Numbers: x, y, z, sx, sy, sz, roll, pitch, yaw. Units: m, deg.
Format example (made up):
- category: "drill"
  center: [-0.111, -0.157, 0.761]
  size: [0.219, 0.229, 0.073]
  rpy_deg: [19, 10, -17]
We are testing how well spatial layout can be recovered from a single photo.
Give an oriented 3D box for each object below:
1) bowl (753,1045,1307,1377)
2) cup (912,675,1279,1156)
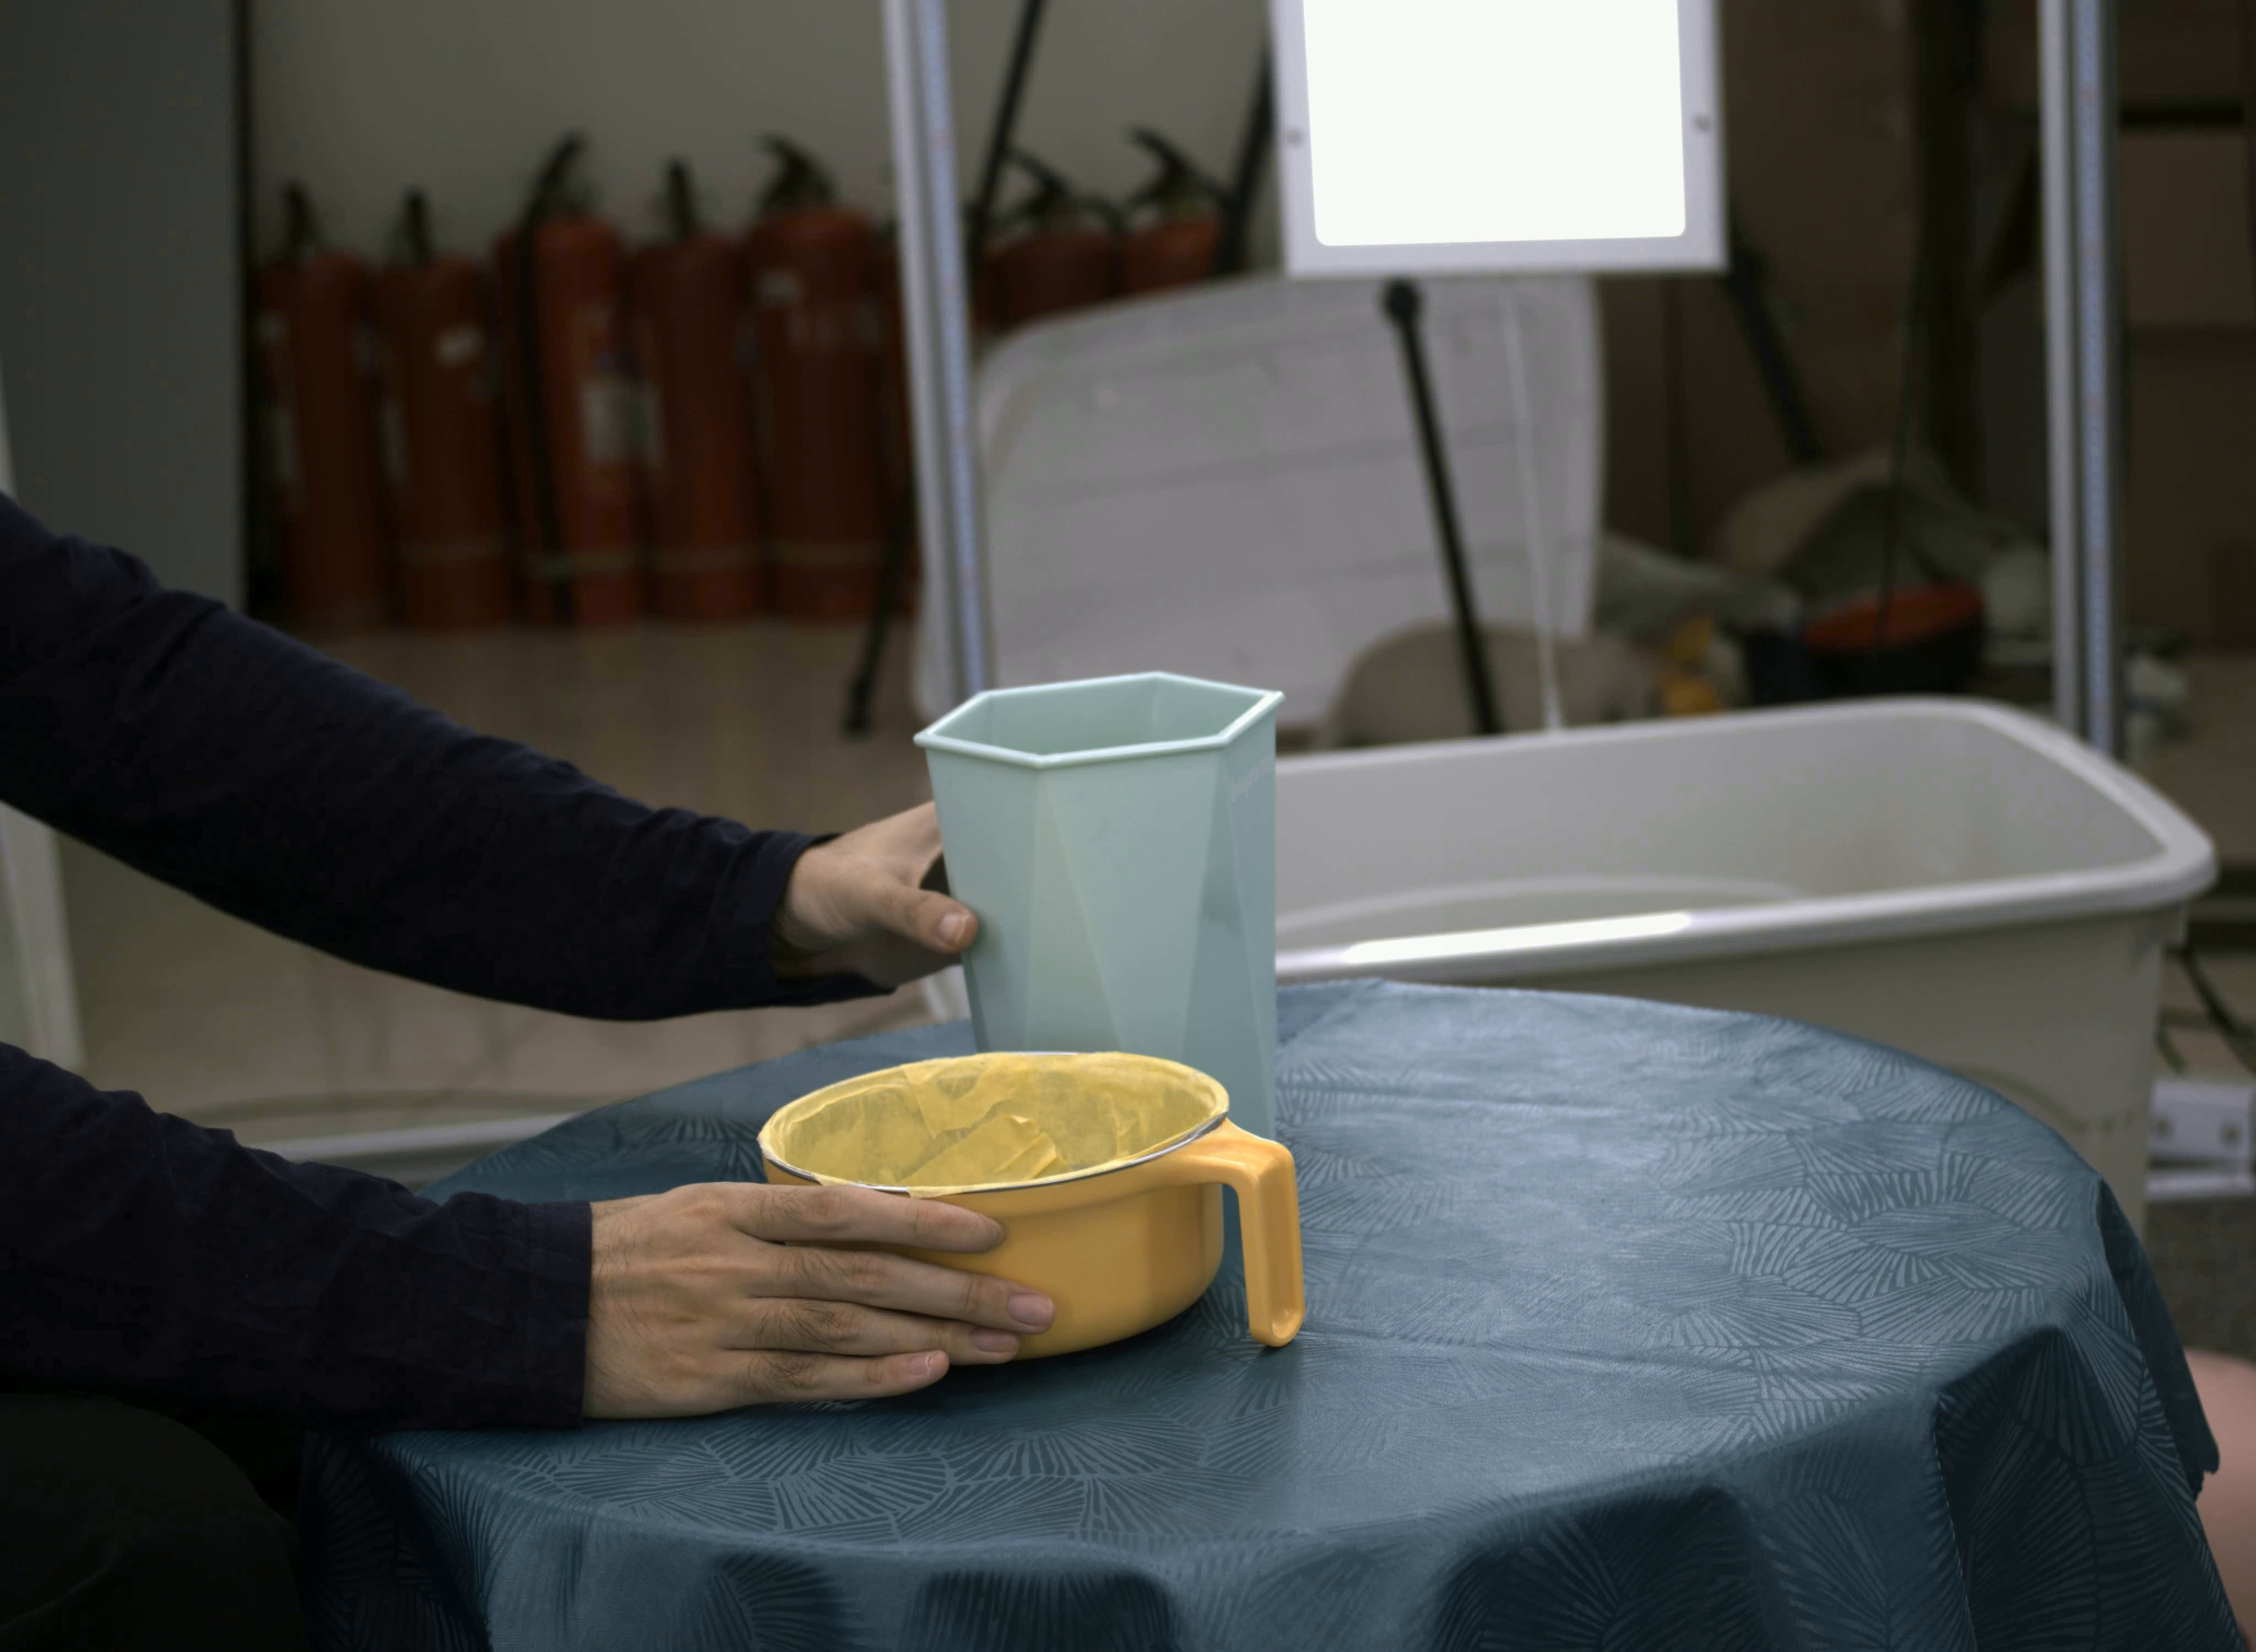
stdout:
- category: "bowl"
  center: [-0.029, 0.127, 1.769]
  size: [0.182, 0.074, 0.149]
  rpy_deg: [0, 14, 29]
- category: "cup"
  center: [-0.003, 0.038, 1.919]
  size: [0.116, 0.163, 0.129]
  rpy_deg: [-2, 12, 18]
